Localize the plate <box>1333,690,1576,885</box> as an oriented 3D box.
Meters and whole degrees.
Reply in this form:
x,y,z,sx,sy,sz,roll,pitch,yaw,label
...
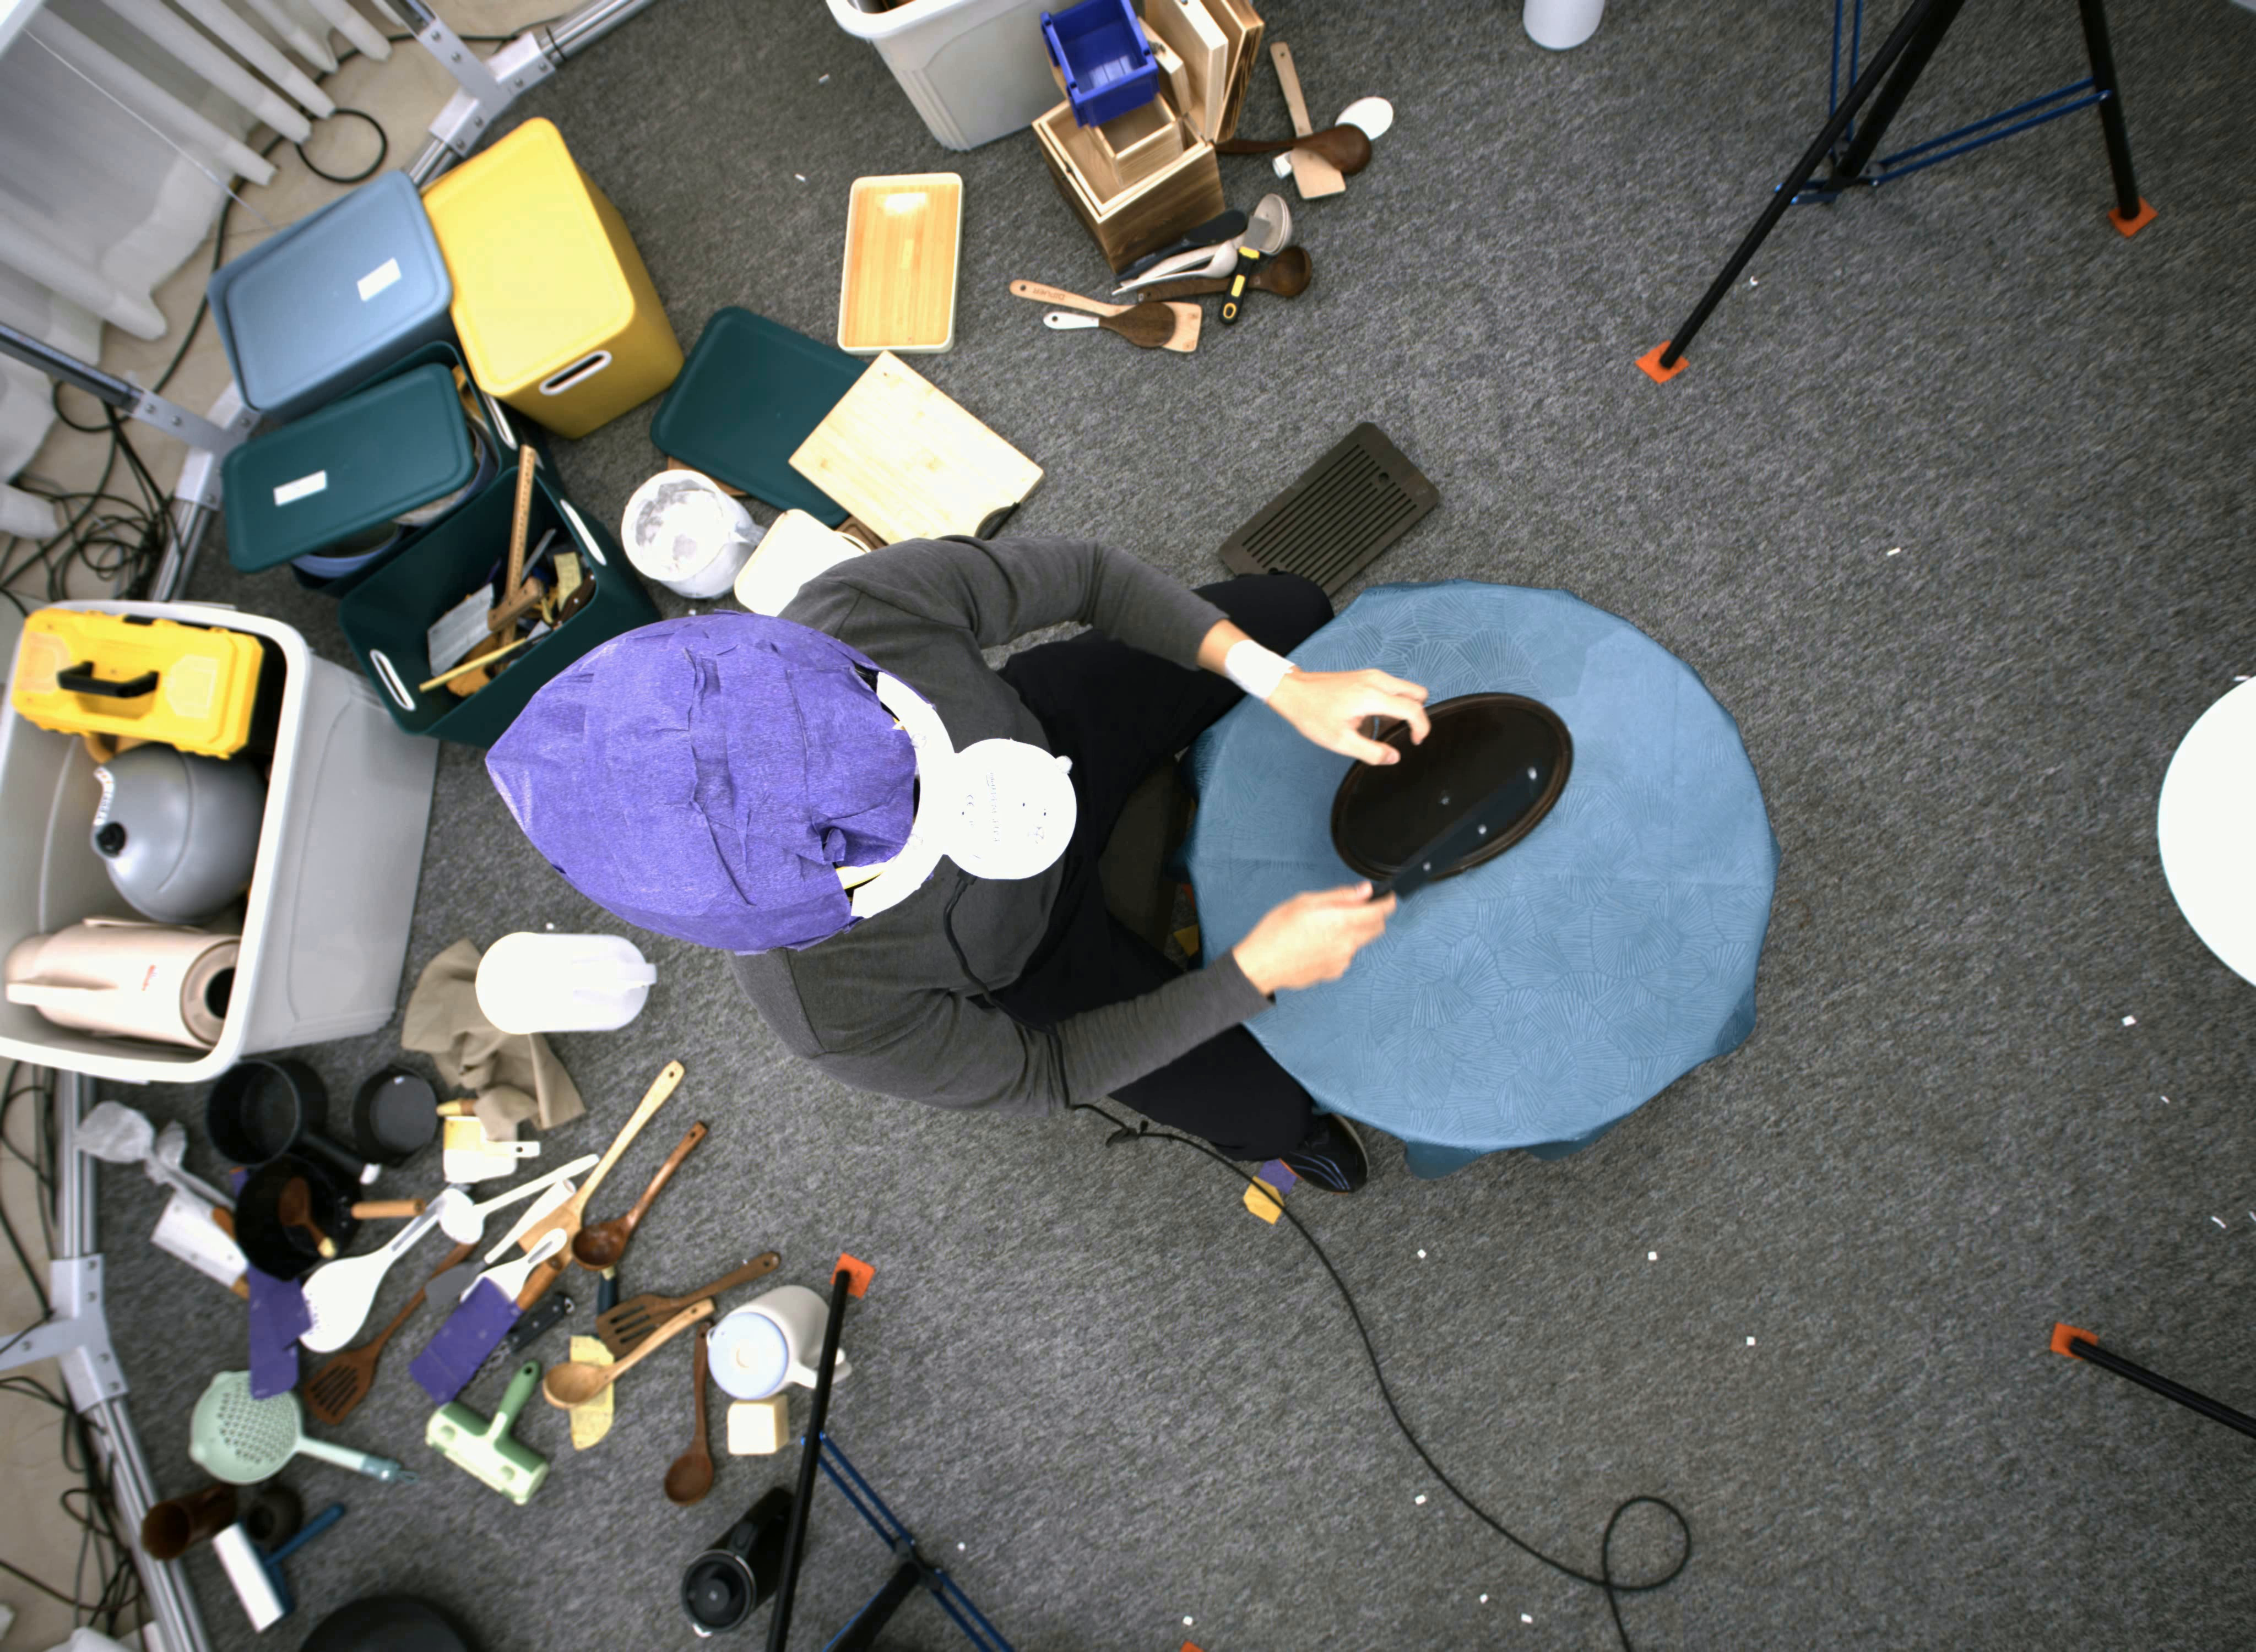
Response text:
x,y,z,sx,sy,sz,roll,pitch,yaw,label
0.319,-0.037,1.352,0.256,0.259,0.028,-25,49,7,plate

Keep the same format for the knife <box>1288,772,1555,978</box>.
x,y,z,sx,sy,sz,roll,pitch,yaw,label
0.274,0.048,1.297,0.304,0.081,0.020,-37,59,10,knife
